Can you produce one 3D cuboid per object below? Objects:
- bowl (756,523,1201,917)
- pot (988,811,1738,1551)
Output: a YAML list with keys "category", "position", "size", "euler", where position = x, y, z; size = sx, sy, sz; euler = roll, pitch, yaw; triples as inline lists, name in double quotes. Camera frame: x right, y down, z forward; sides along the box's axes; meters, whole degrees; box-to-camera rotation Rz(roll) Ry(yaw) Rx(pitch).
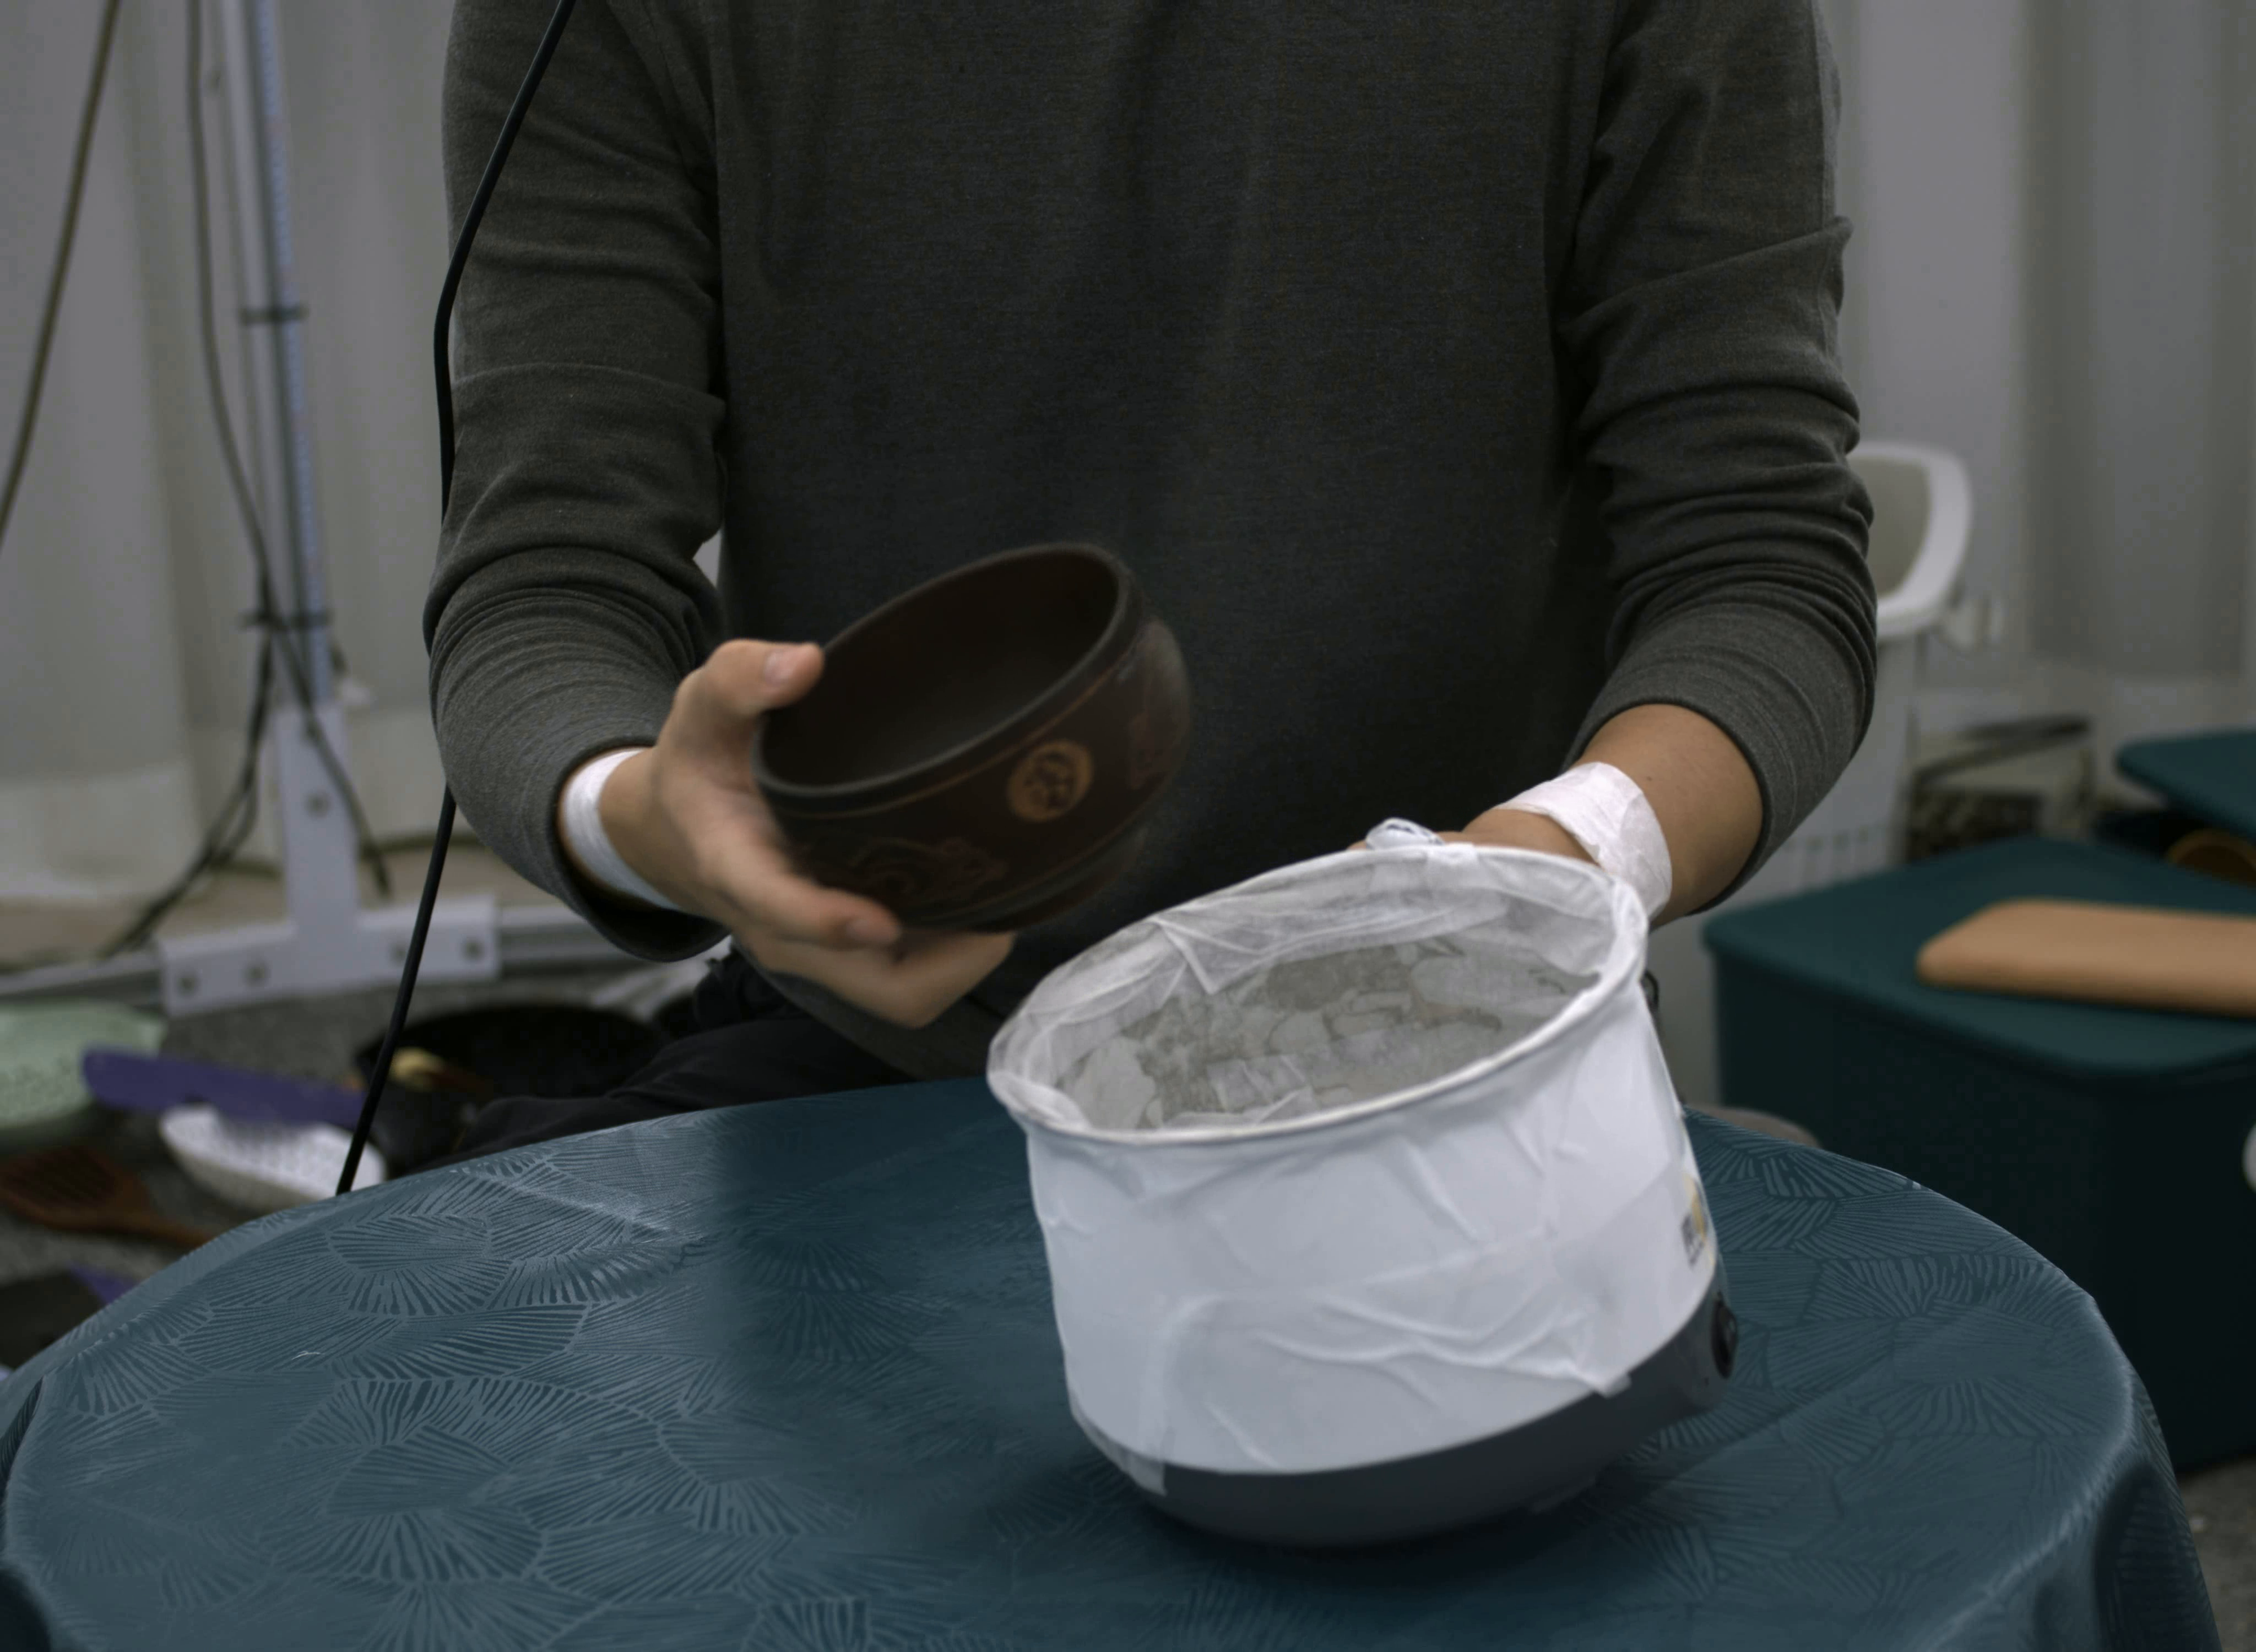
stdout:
- category: "bowl"
  position: [-0.033, -0.020, 1.454]
  size: [0.117, 0.069, 0.119]
  euler: [-25, 24, 11]
- category: "pot"
  position: [0.070, 0.088, 1.472]
  size: [0.178, 0.135, 0.235]
  euler: [-8, 21, 18]
